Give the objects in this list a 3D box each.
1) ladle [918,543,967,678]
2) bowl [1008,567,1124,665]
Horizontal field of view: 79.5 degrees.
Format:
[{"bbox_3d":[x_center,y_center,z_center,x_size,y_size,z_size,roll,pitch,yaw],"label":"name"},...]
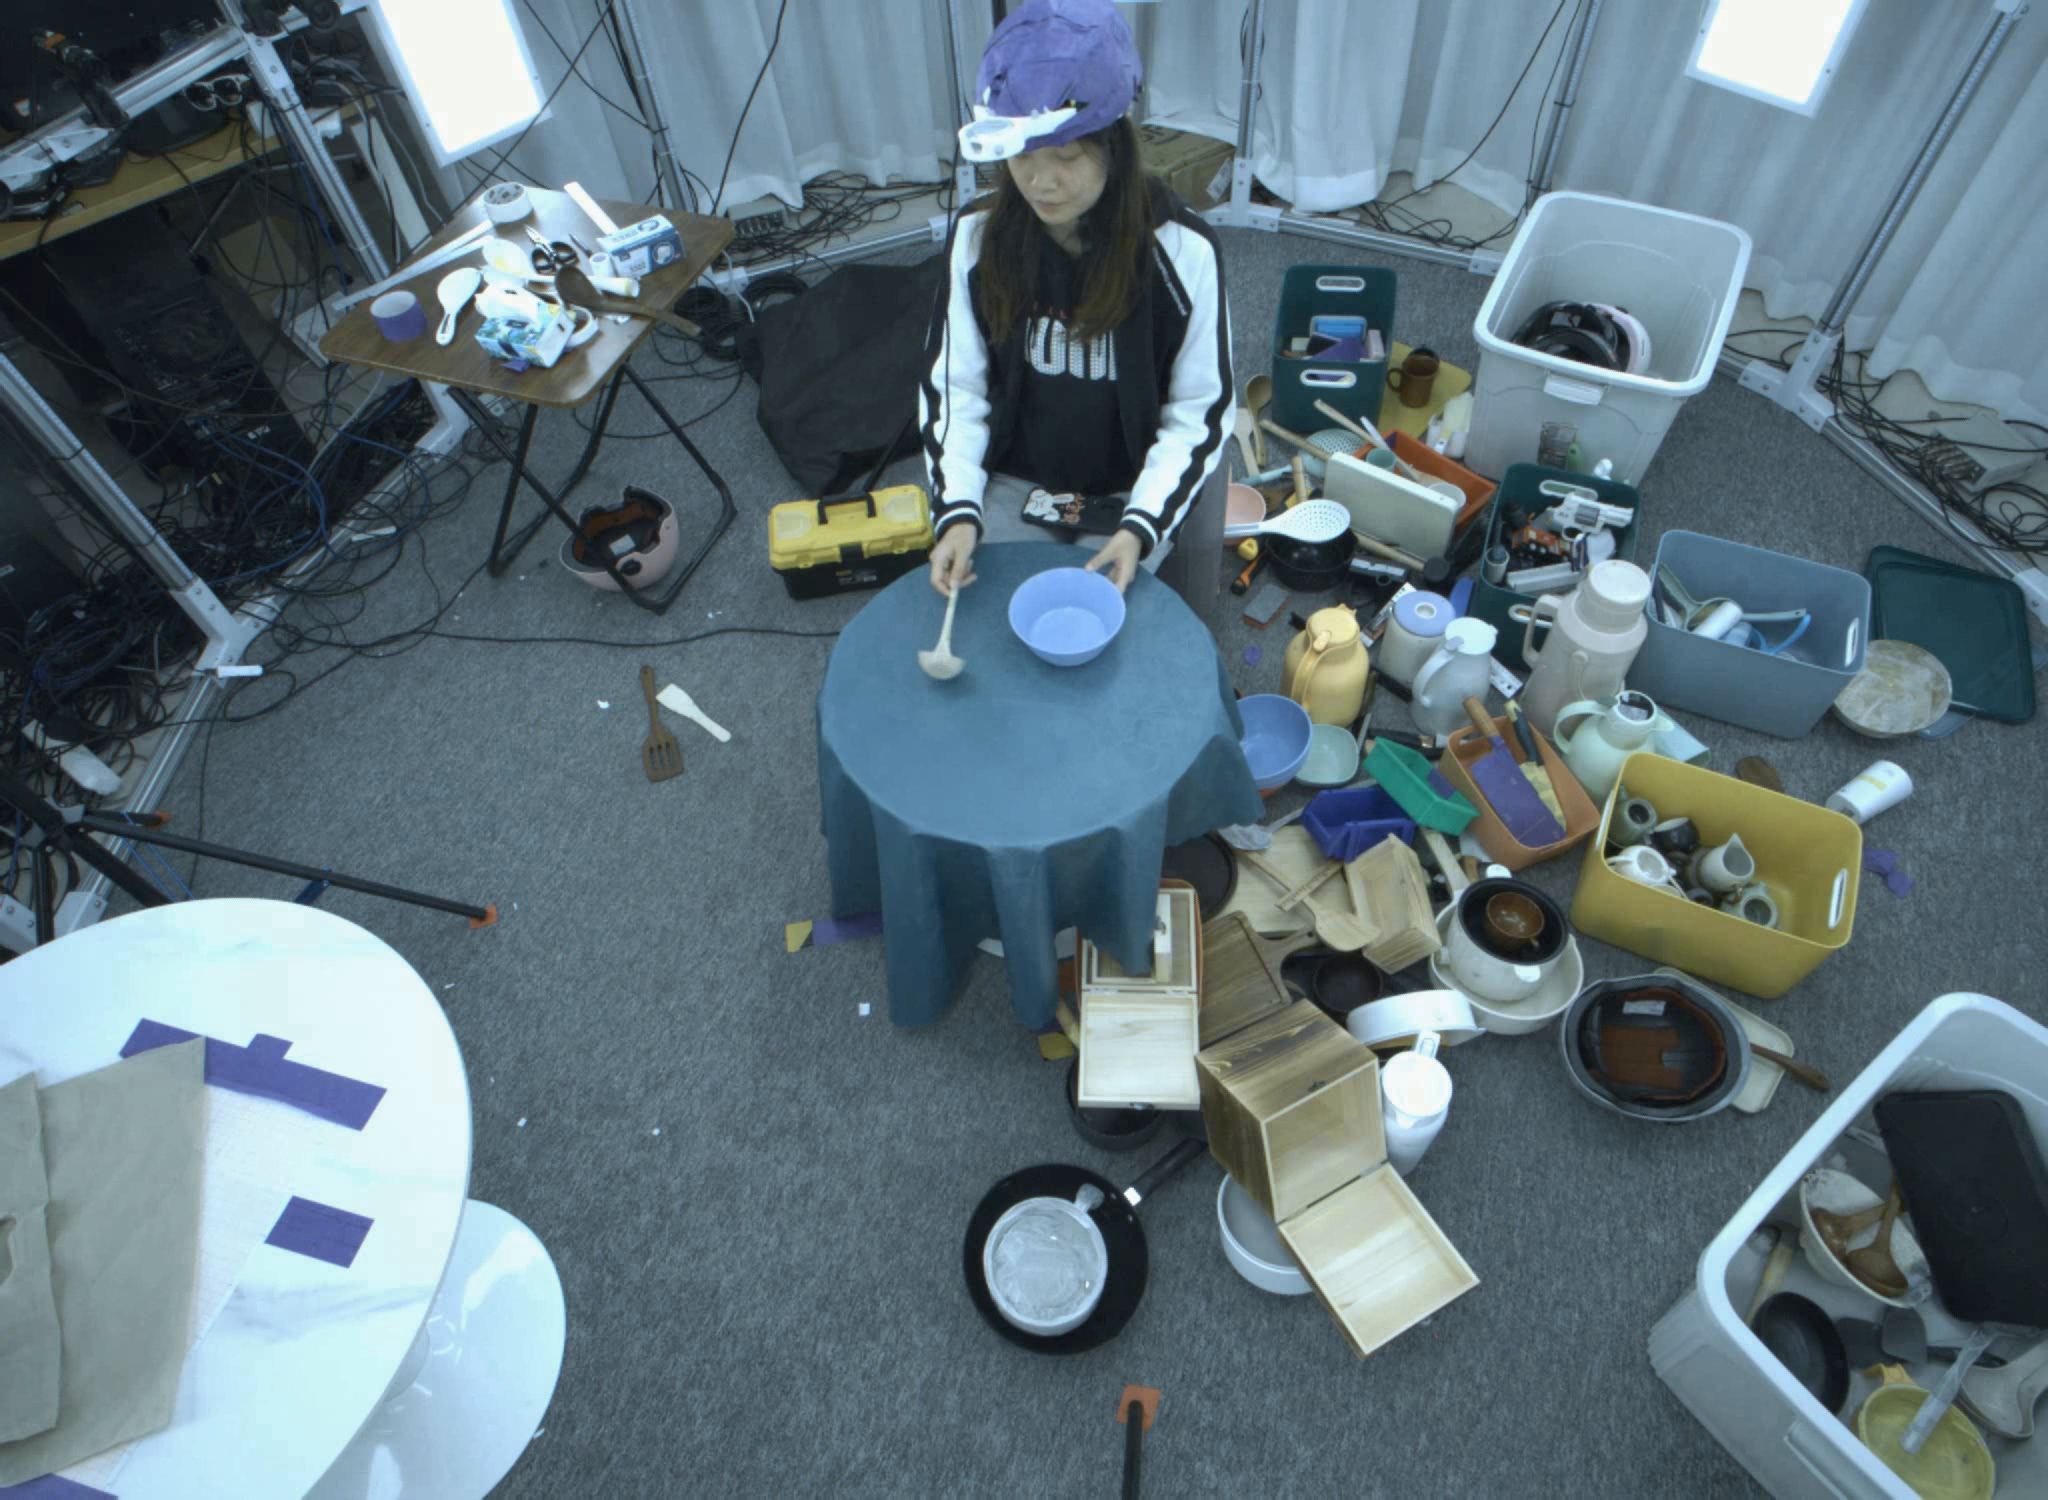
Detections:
[{"bbox_3d":[-0.114,-0.229,1.869,0.073,0.073,0.252,9,66,-9],"label":"ladle"},{"bbox_3d":[0.064,-0.195,1.881,0.176,0.071,0.174,0,55,1],"label":"bowl"}]
